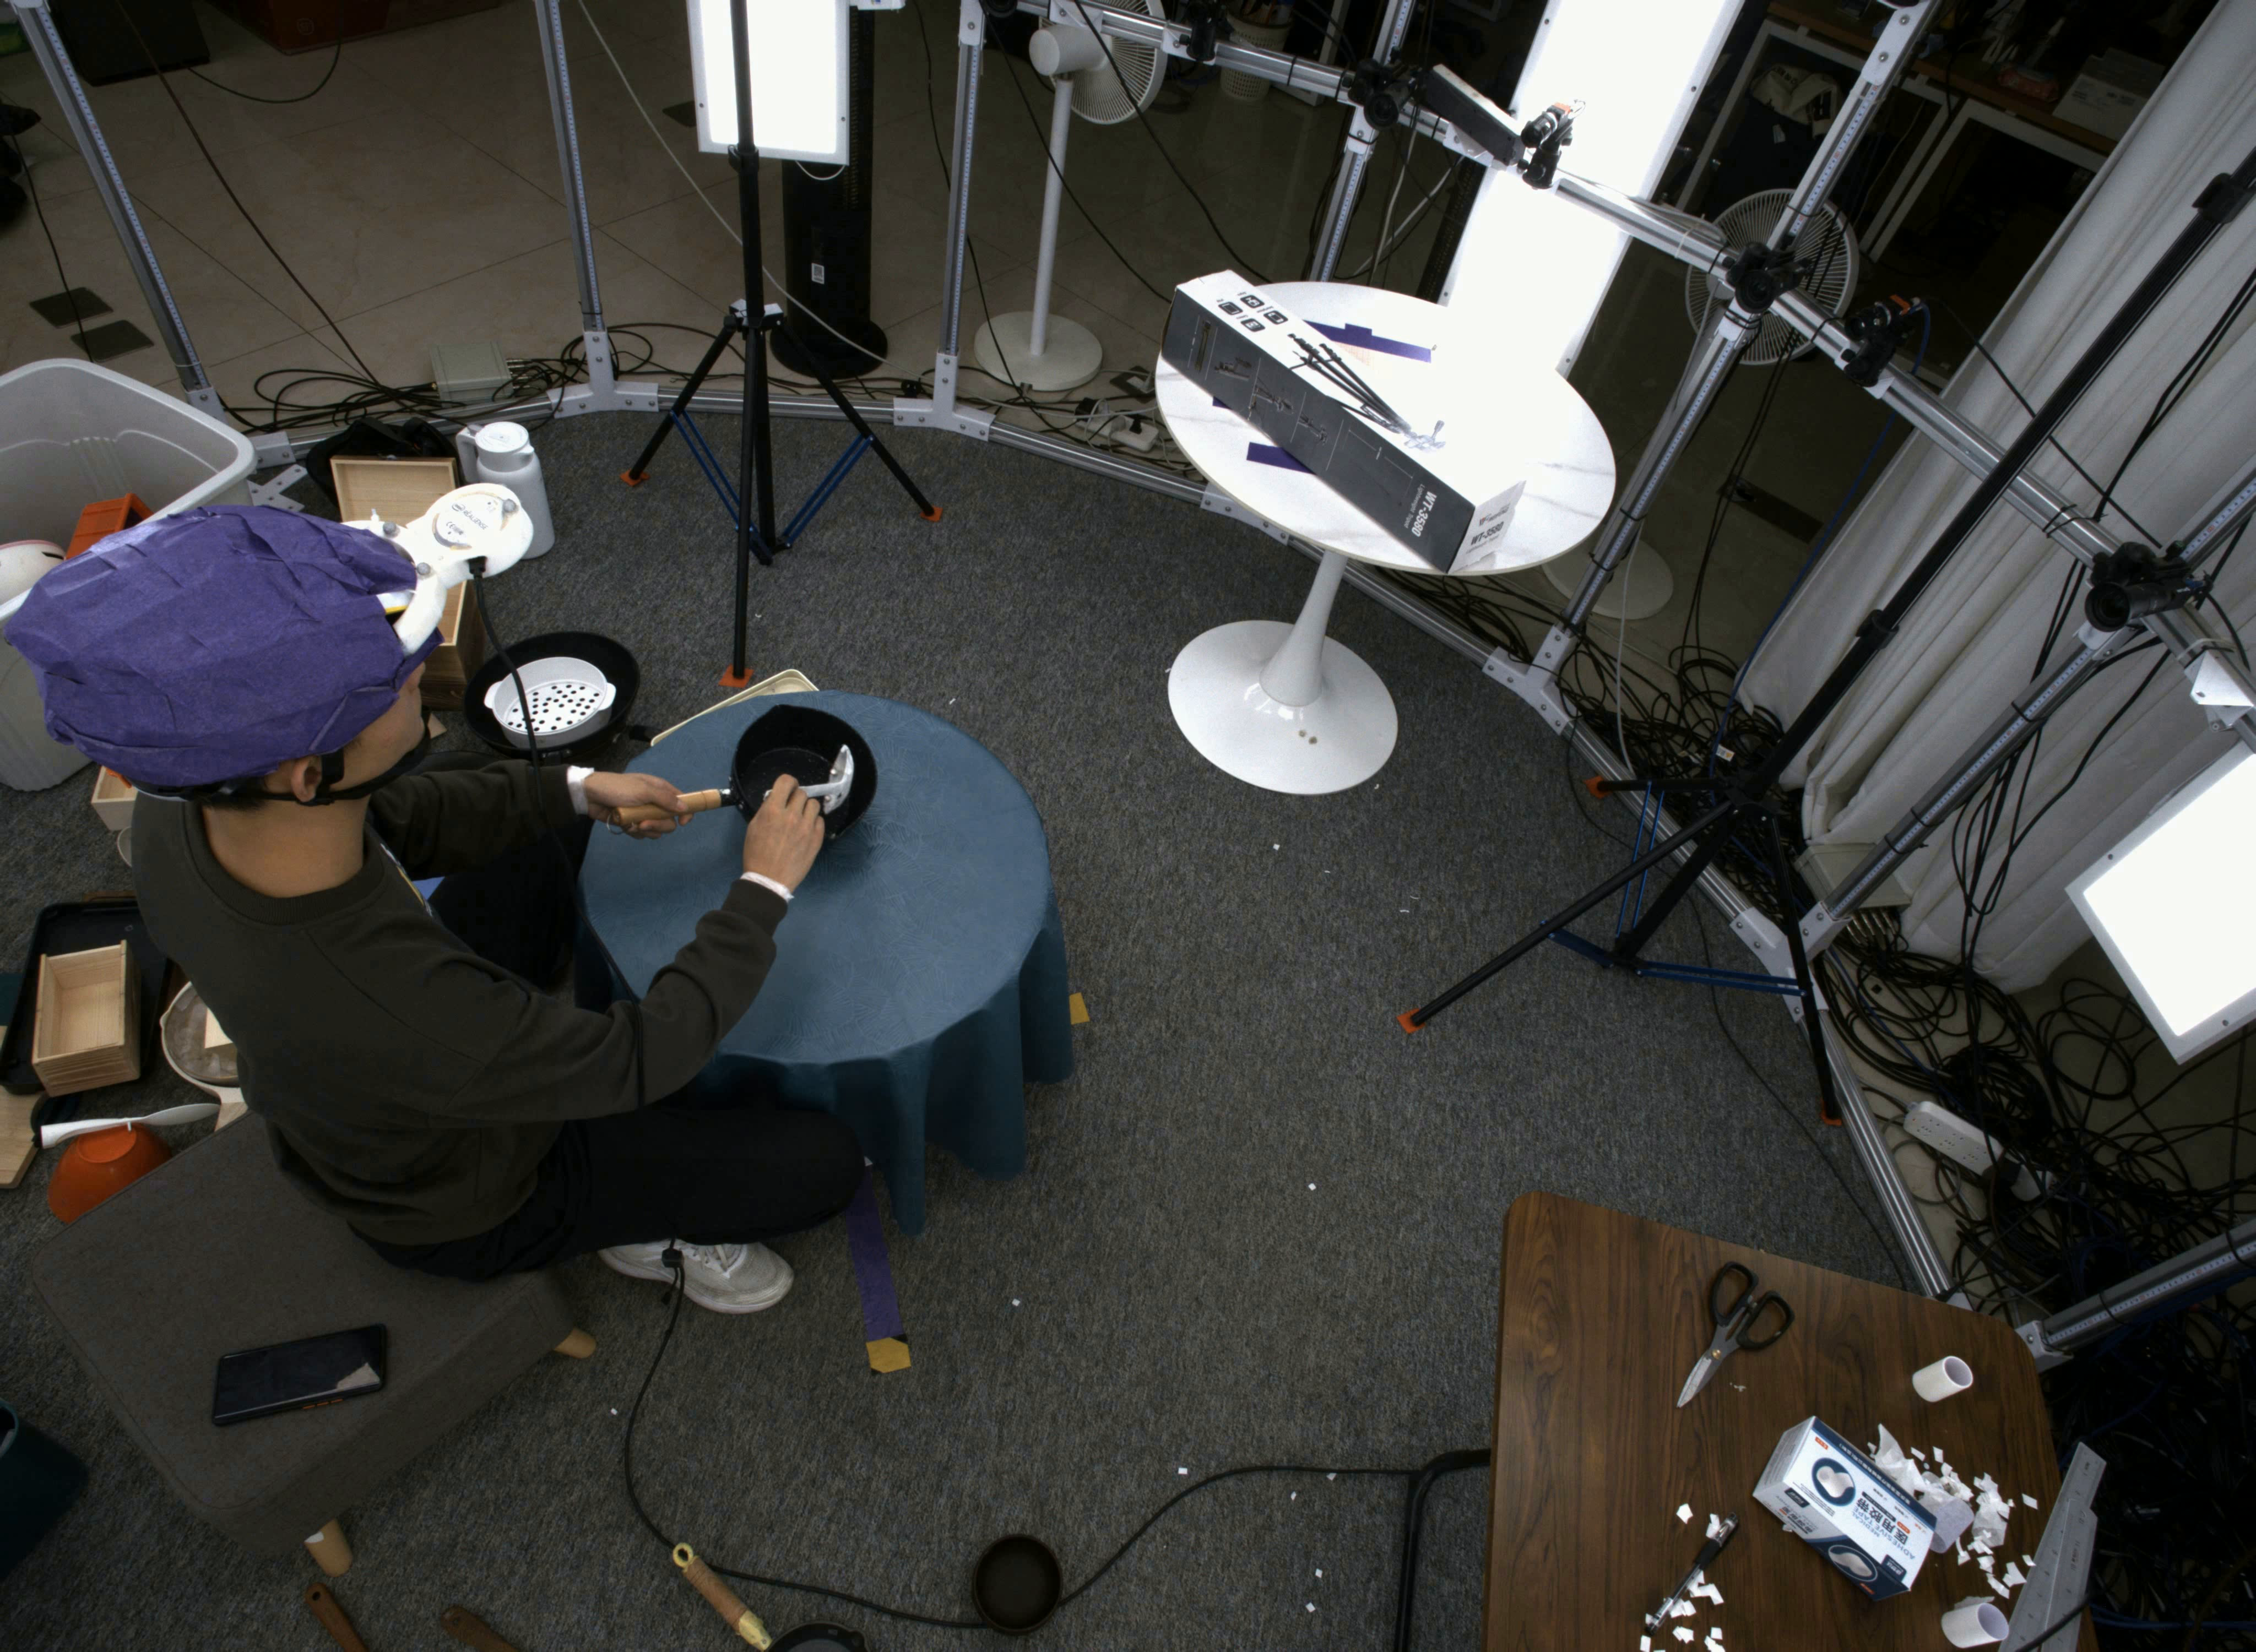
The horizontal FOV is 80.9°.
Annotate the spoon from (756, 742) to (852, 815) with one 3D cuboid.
[{"bbox_3d":[-0.407,-0.050,1.594,0.058,0.102,0.278,21,11,11],"label":"spoon"}]

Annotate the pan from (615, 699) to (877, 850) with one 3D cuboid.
[{"bbox_3d":[-0.488,-0.039,1.643,0.346,0.108,0.206,-19,78,-35],"label":"pan"}]
